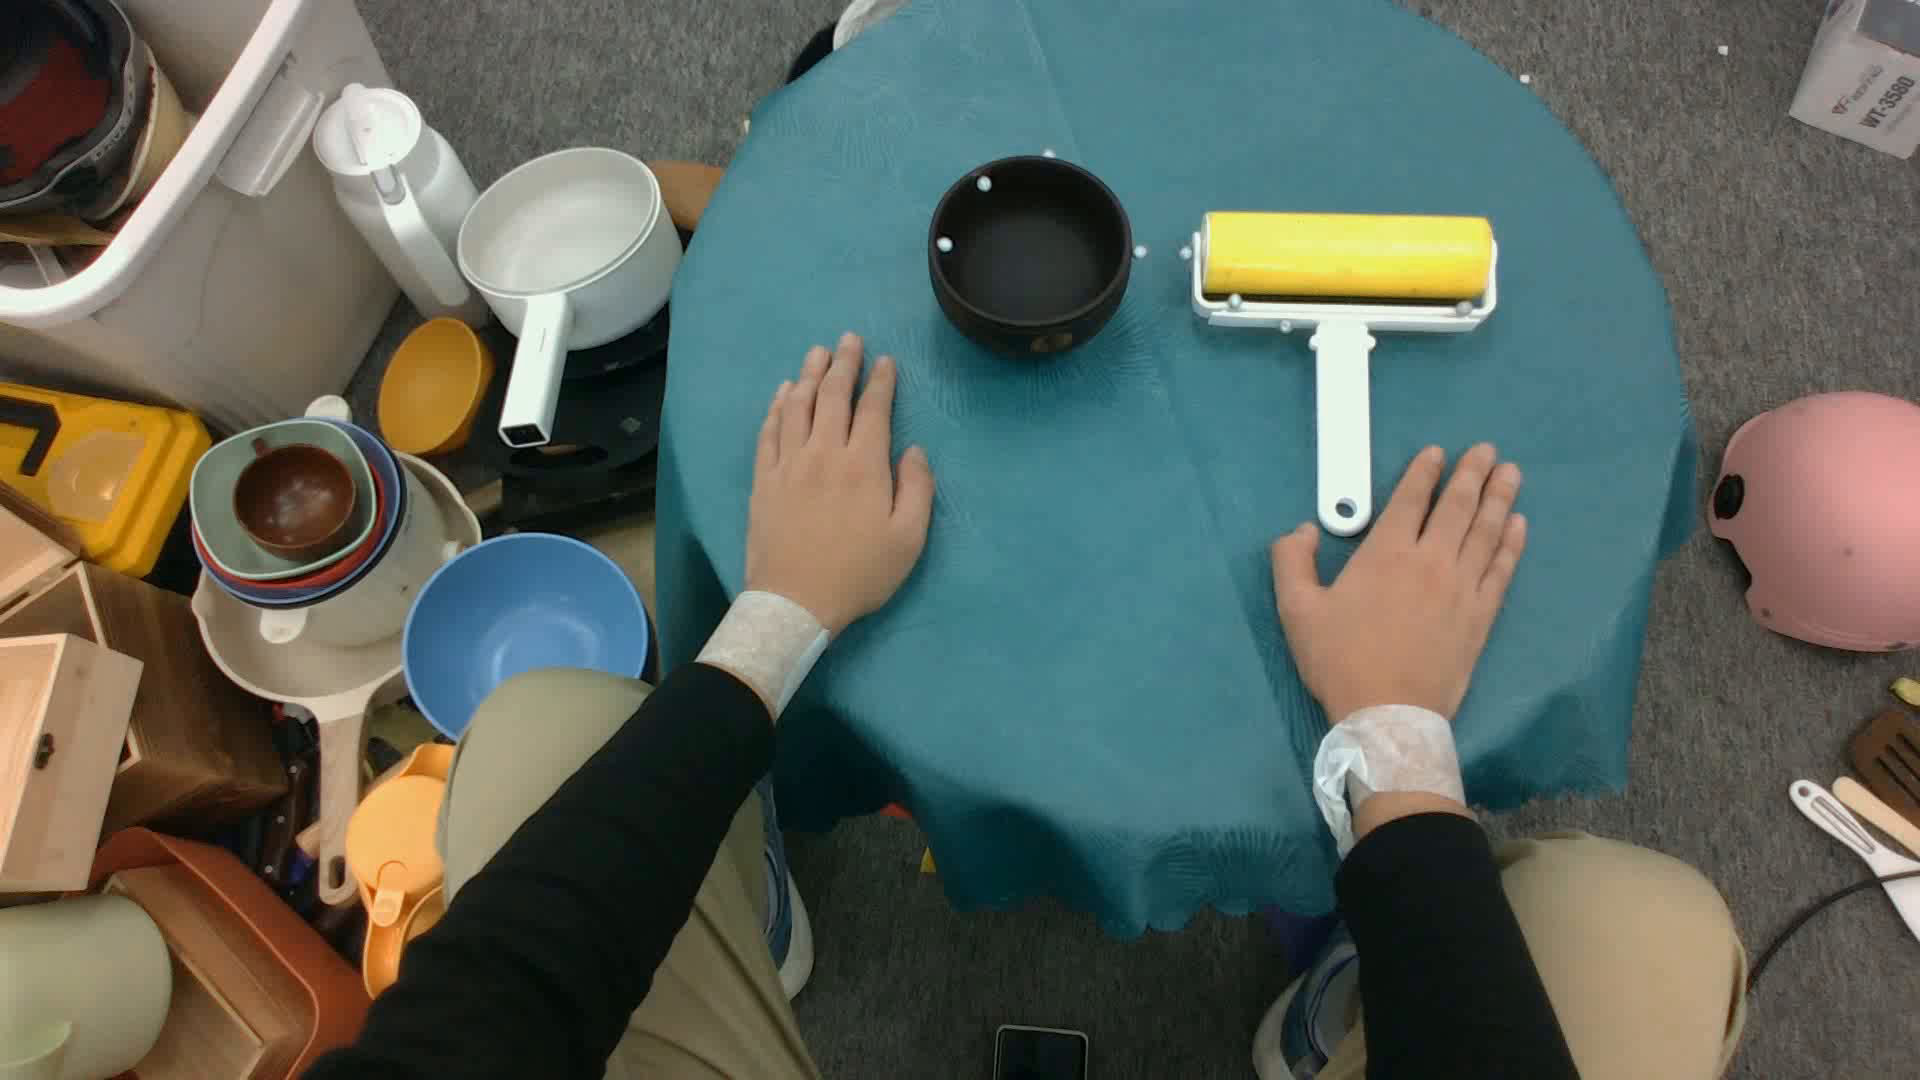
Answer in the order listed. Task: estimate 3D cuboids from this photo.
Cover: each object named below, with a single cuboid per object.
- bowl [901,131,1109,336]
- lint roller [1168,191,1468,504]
[{"bbox_3d":[0.026,-0.170,0.799,0.118,0.069,0.118,0,68,1],"label":"bowl"},{"bbox_3d":[0.210,-0.116,0.788,0.174,0.051,0.193,0,64,1],"label":"lint roller"}]
